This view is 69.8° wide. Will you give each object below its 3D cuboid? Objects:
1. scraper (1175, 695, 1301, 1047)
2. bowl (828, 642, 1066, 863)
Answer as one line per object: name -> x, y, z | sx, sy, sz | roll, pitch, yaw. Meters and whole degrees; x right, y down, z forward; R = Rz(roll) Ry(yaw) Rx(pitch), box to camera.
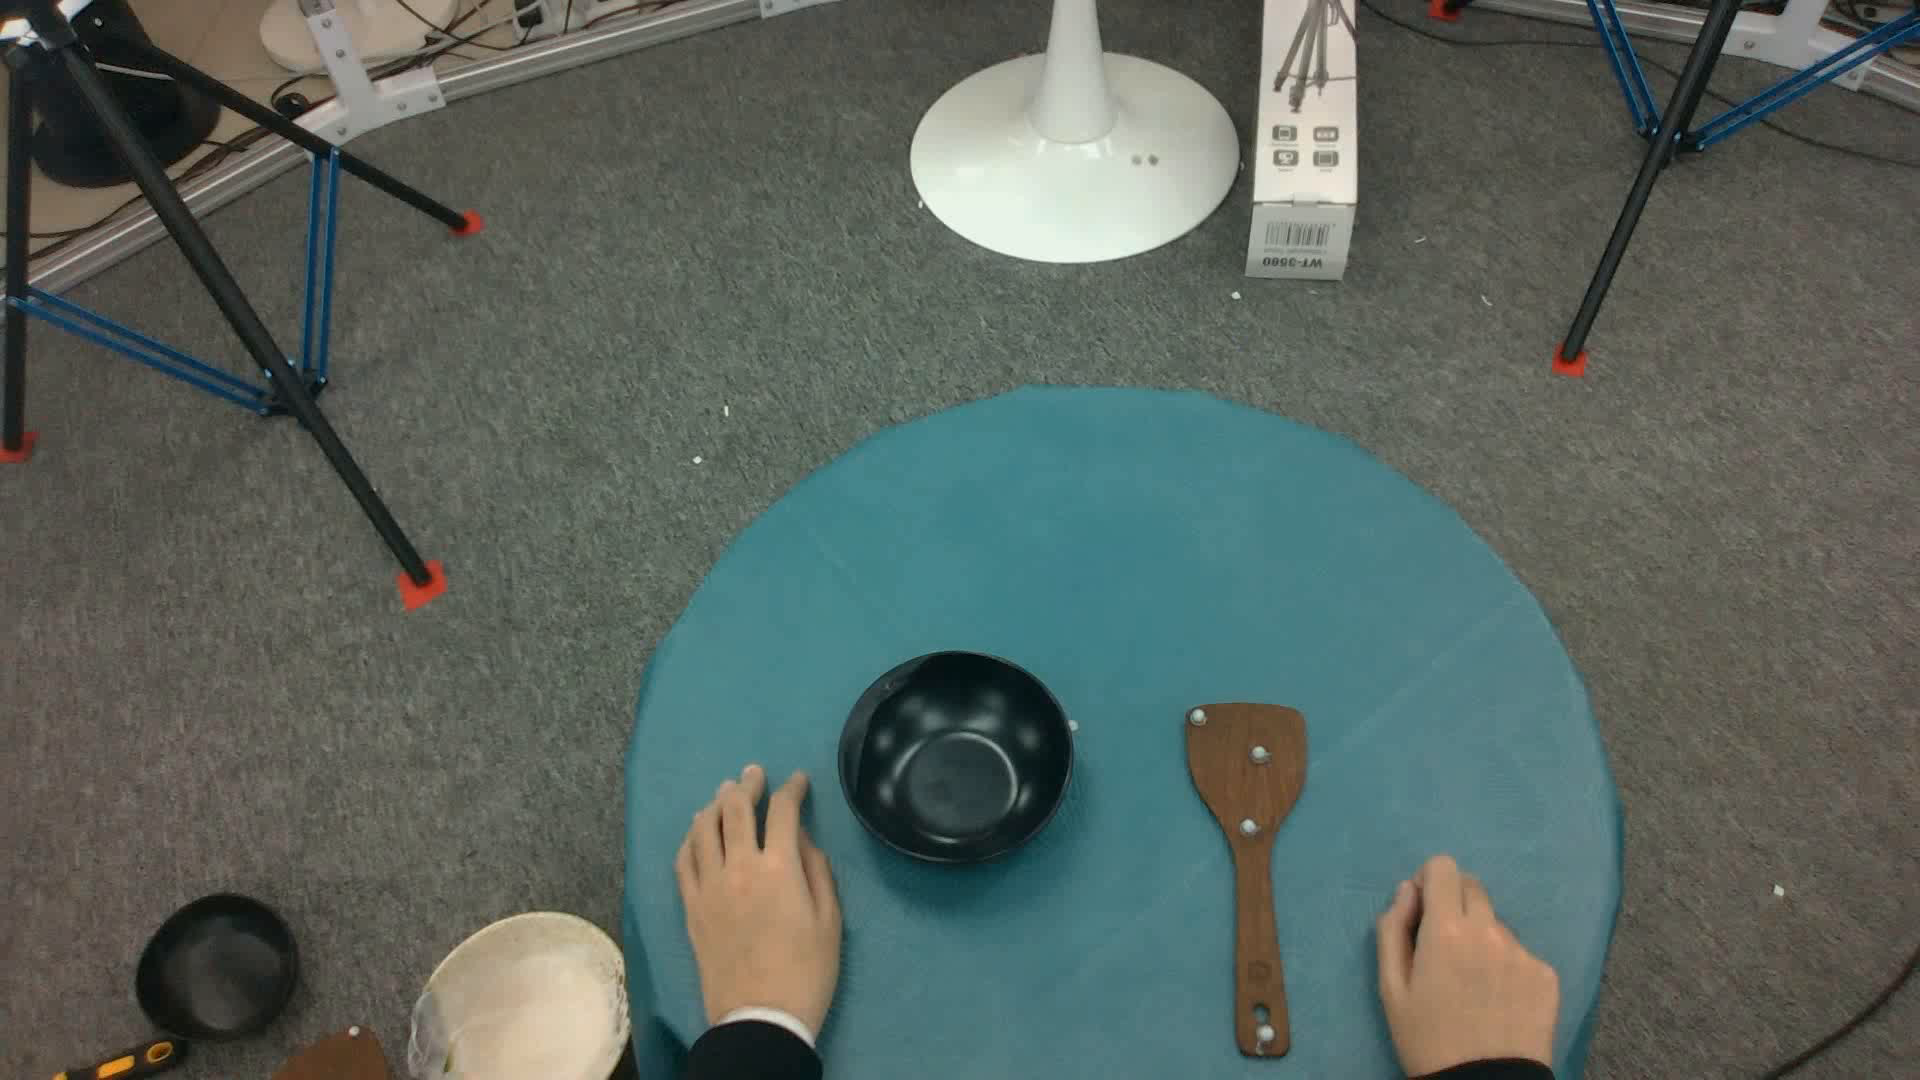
scraper -> 0.164, 0.184, 0.795 | 0.076, 0.011, 0.212 | 1, 54, 5
bowl -> -0.008, 0.132, 0.818 | 0.140, 0.049, 0.140 | 0, 54, 0
